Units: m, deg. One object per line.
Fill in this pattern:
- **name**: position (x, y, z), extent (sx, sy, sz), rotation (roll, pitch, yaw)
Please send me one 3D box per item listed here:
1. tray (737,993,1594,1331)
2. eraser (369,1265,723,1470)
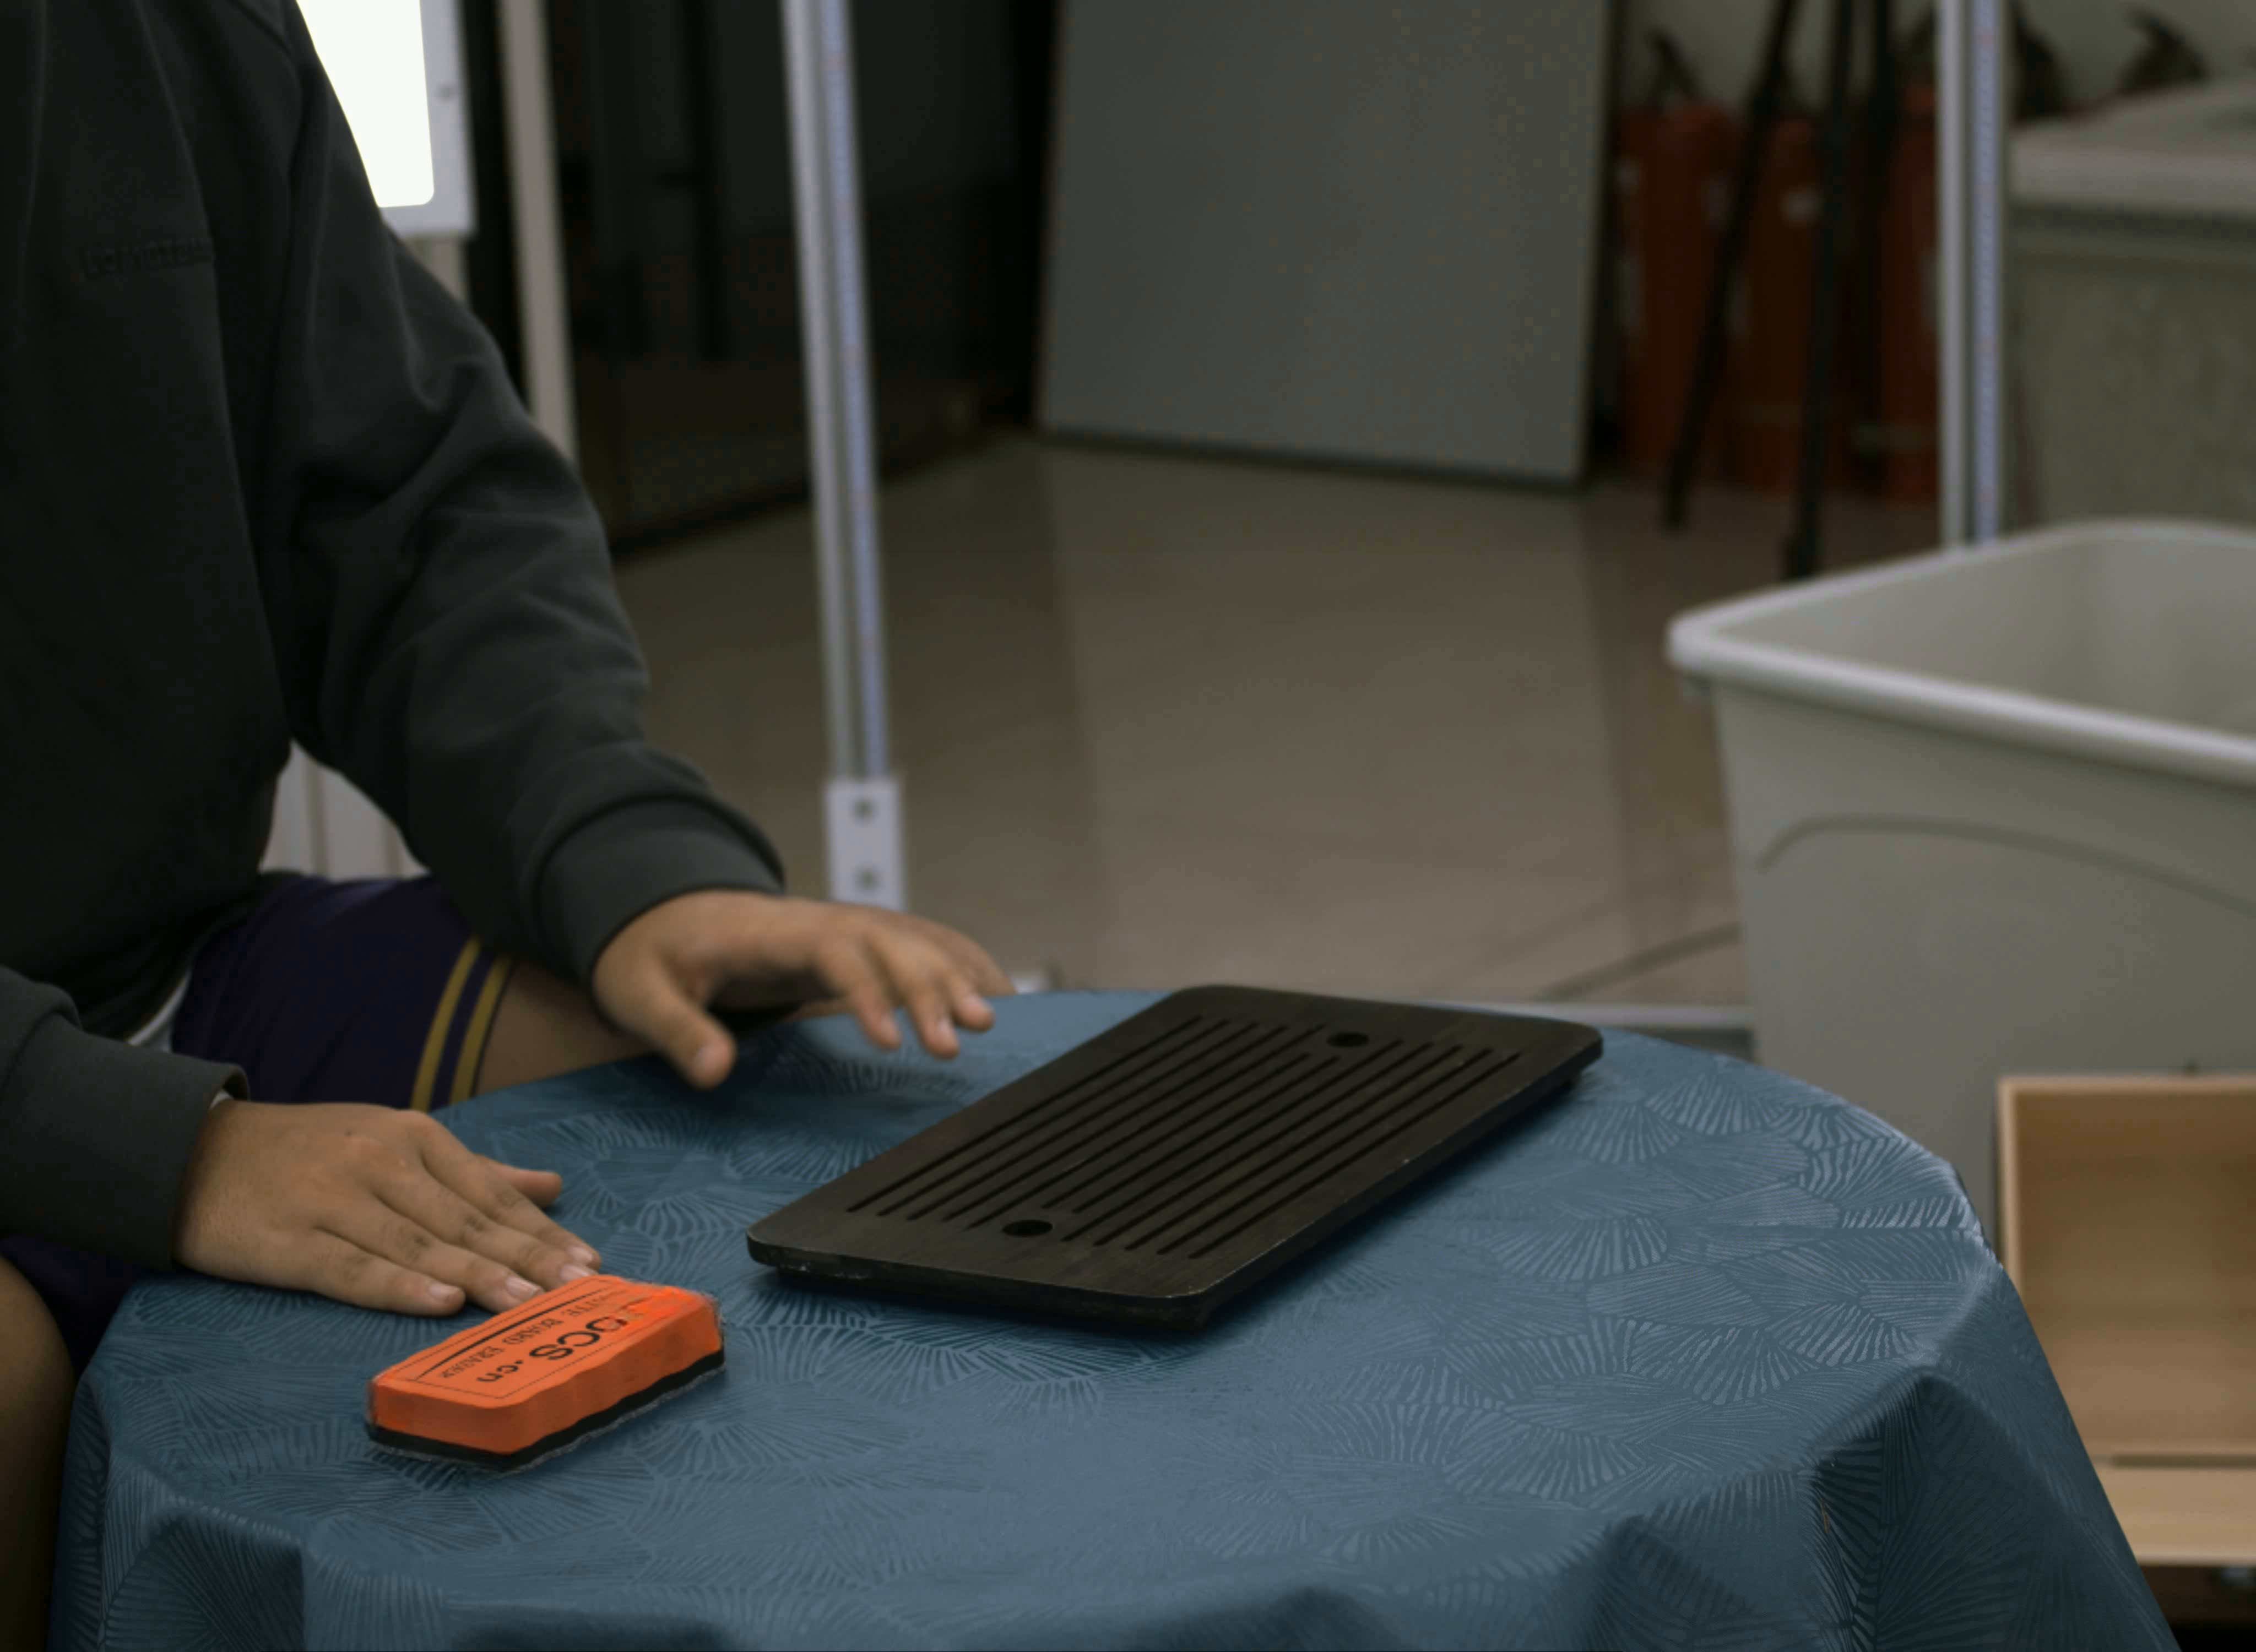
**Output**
- **tray**: position (0.019, 0.108, 1.780), extent (0.171, 0.019, 0.301), rotation (5, 16, 31)
- **eraser**: position (-0.171, 0.159, 1.599), extent (0.059, 0.023, 0.106), rotation (5, 18, 34)
